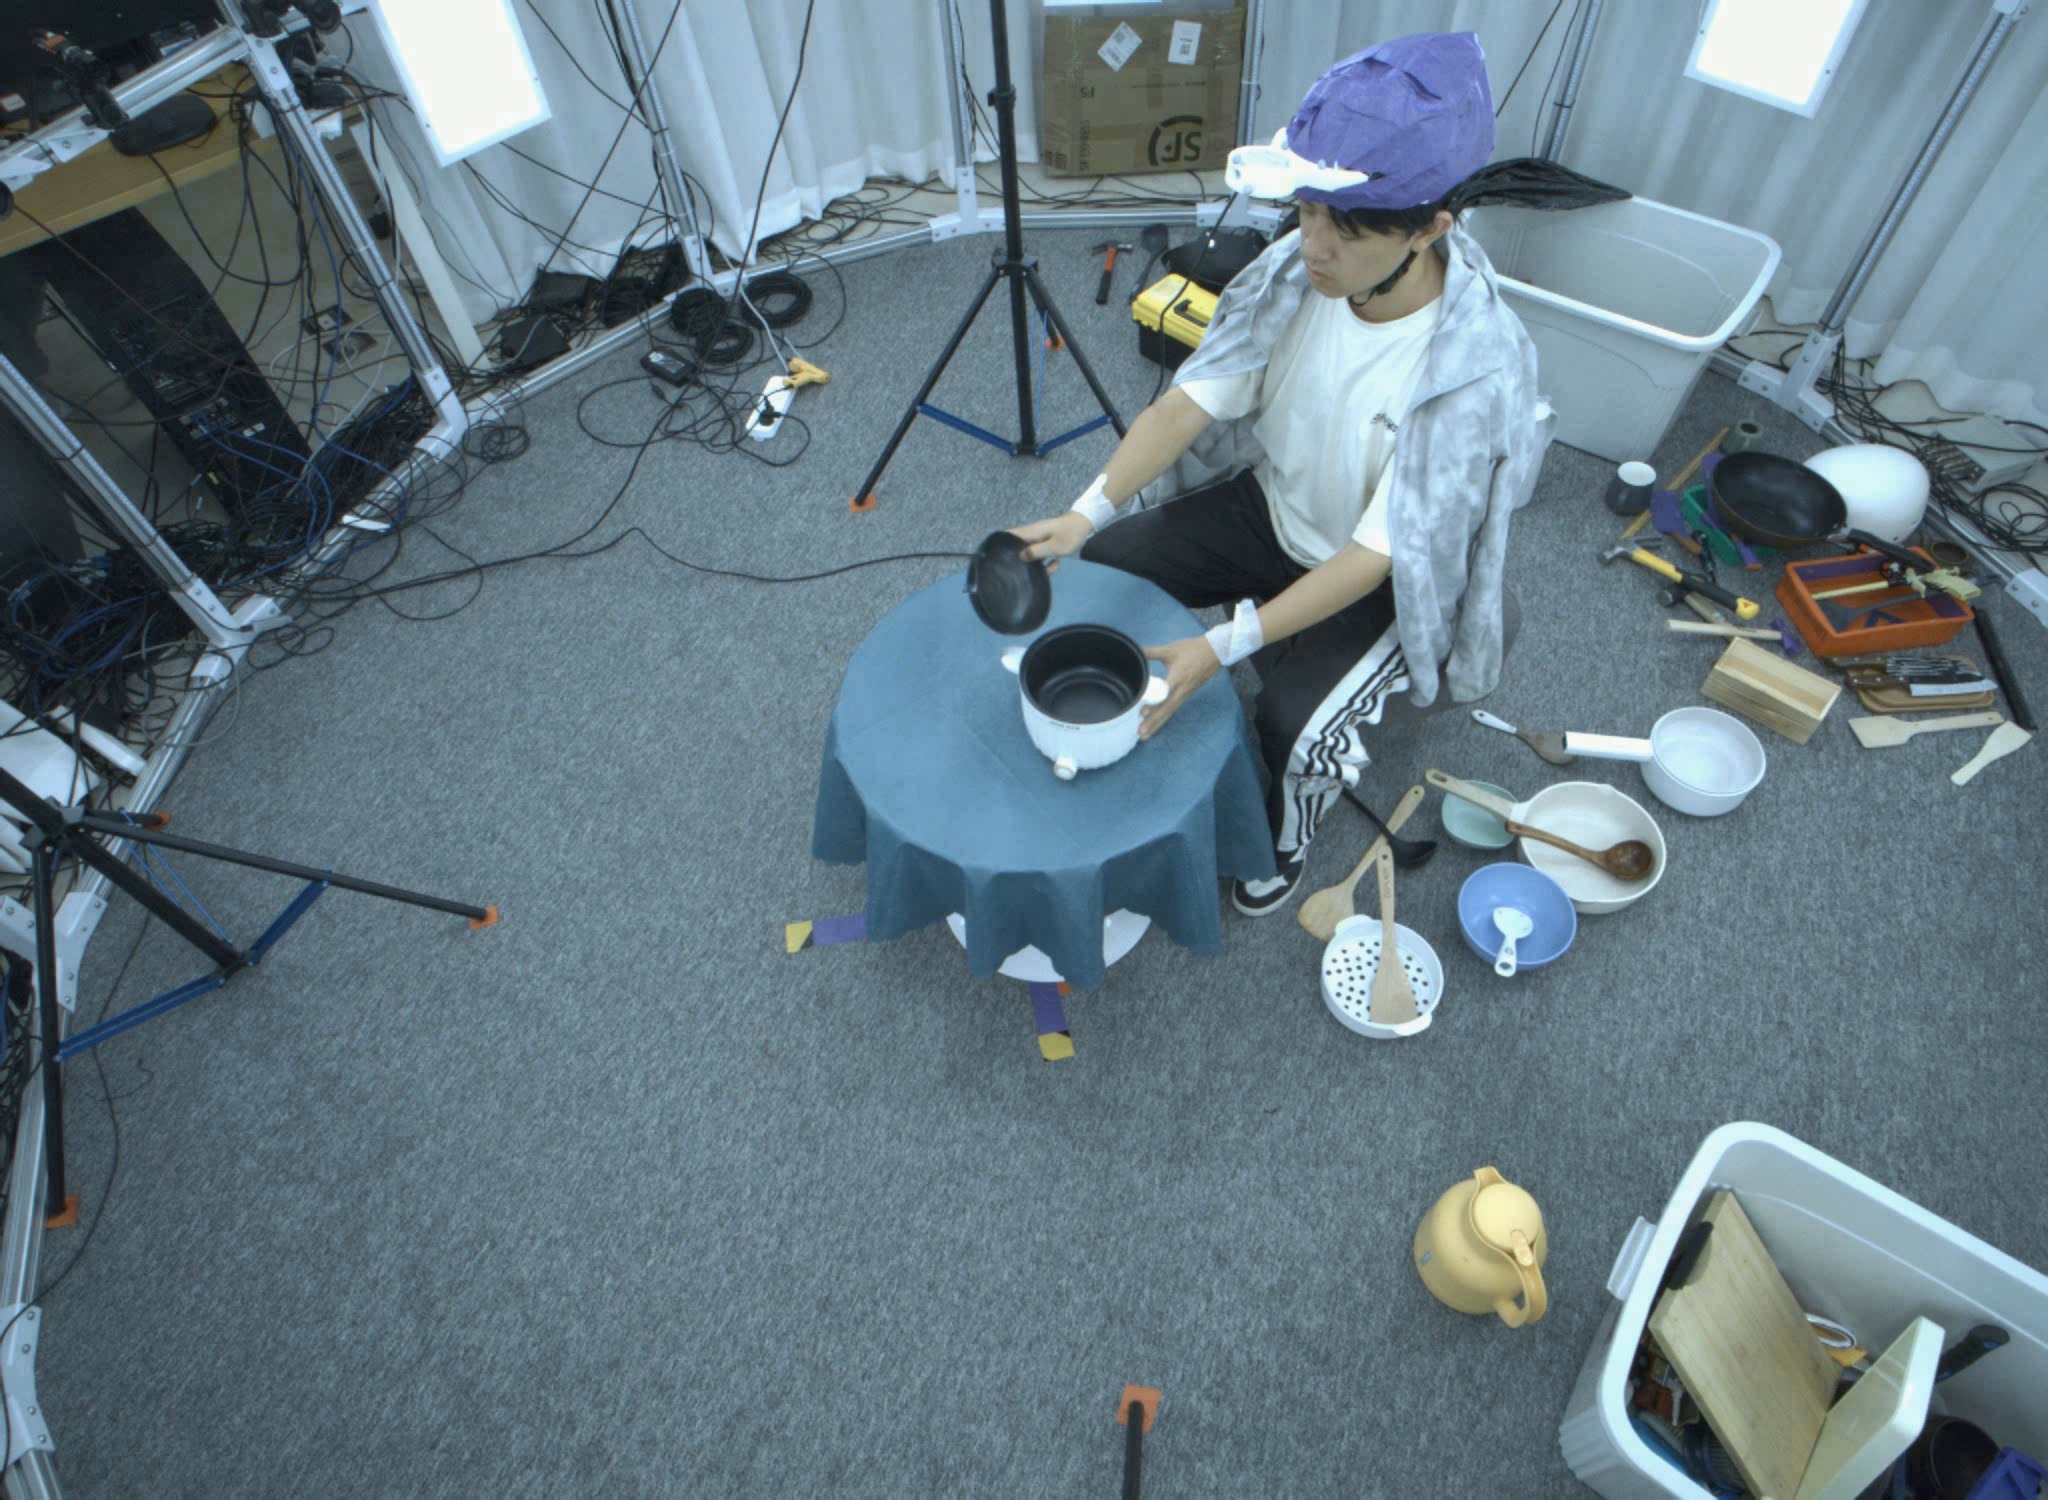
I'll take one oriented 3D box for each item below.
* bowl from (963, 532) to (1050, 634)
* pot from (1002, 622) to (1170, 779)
[{"bbox_3d":[-0.036,-0.229,1.722,0.140,0.066,0.169,34,51,-28],"label":"bowl"},{"bbox_3d":[0.086,-0.065,1.748,0.238,0.144,0.190,13,53,12],"label":"pot"}]
